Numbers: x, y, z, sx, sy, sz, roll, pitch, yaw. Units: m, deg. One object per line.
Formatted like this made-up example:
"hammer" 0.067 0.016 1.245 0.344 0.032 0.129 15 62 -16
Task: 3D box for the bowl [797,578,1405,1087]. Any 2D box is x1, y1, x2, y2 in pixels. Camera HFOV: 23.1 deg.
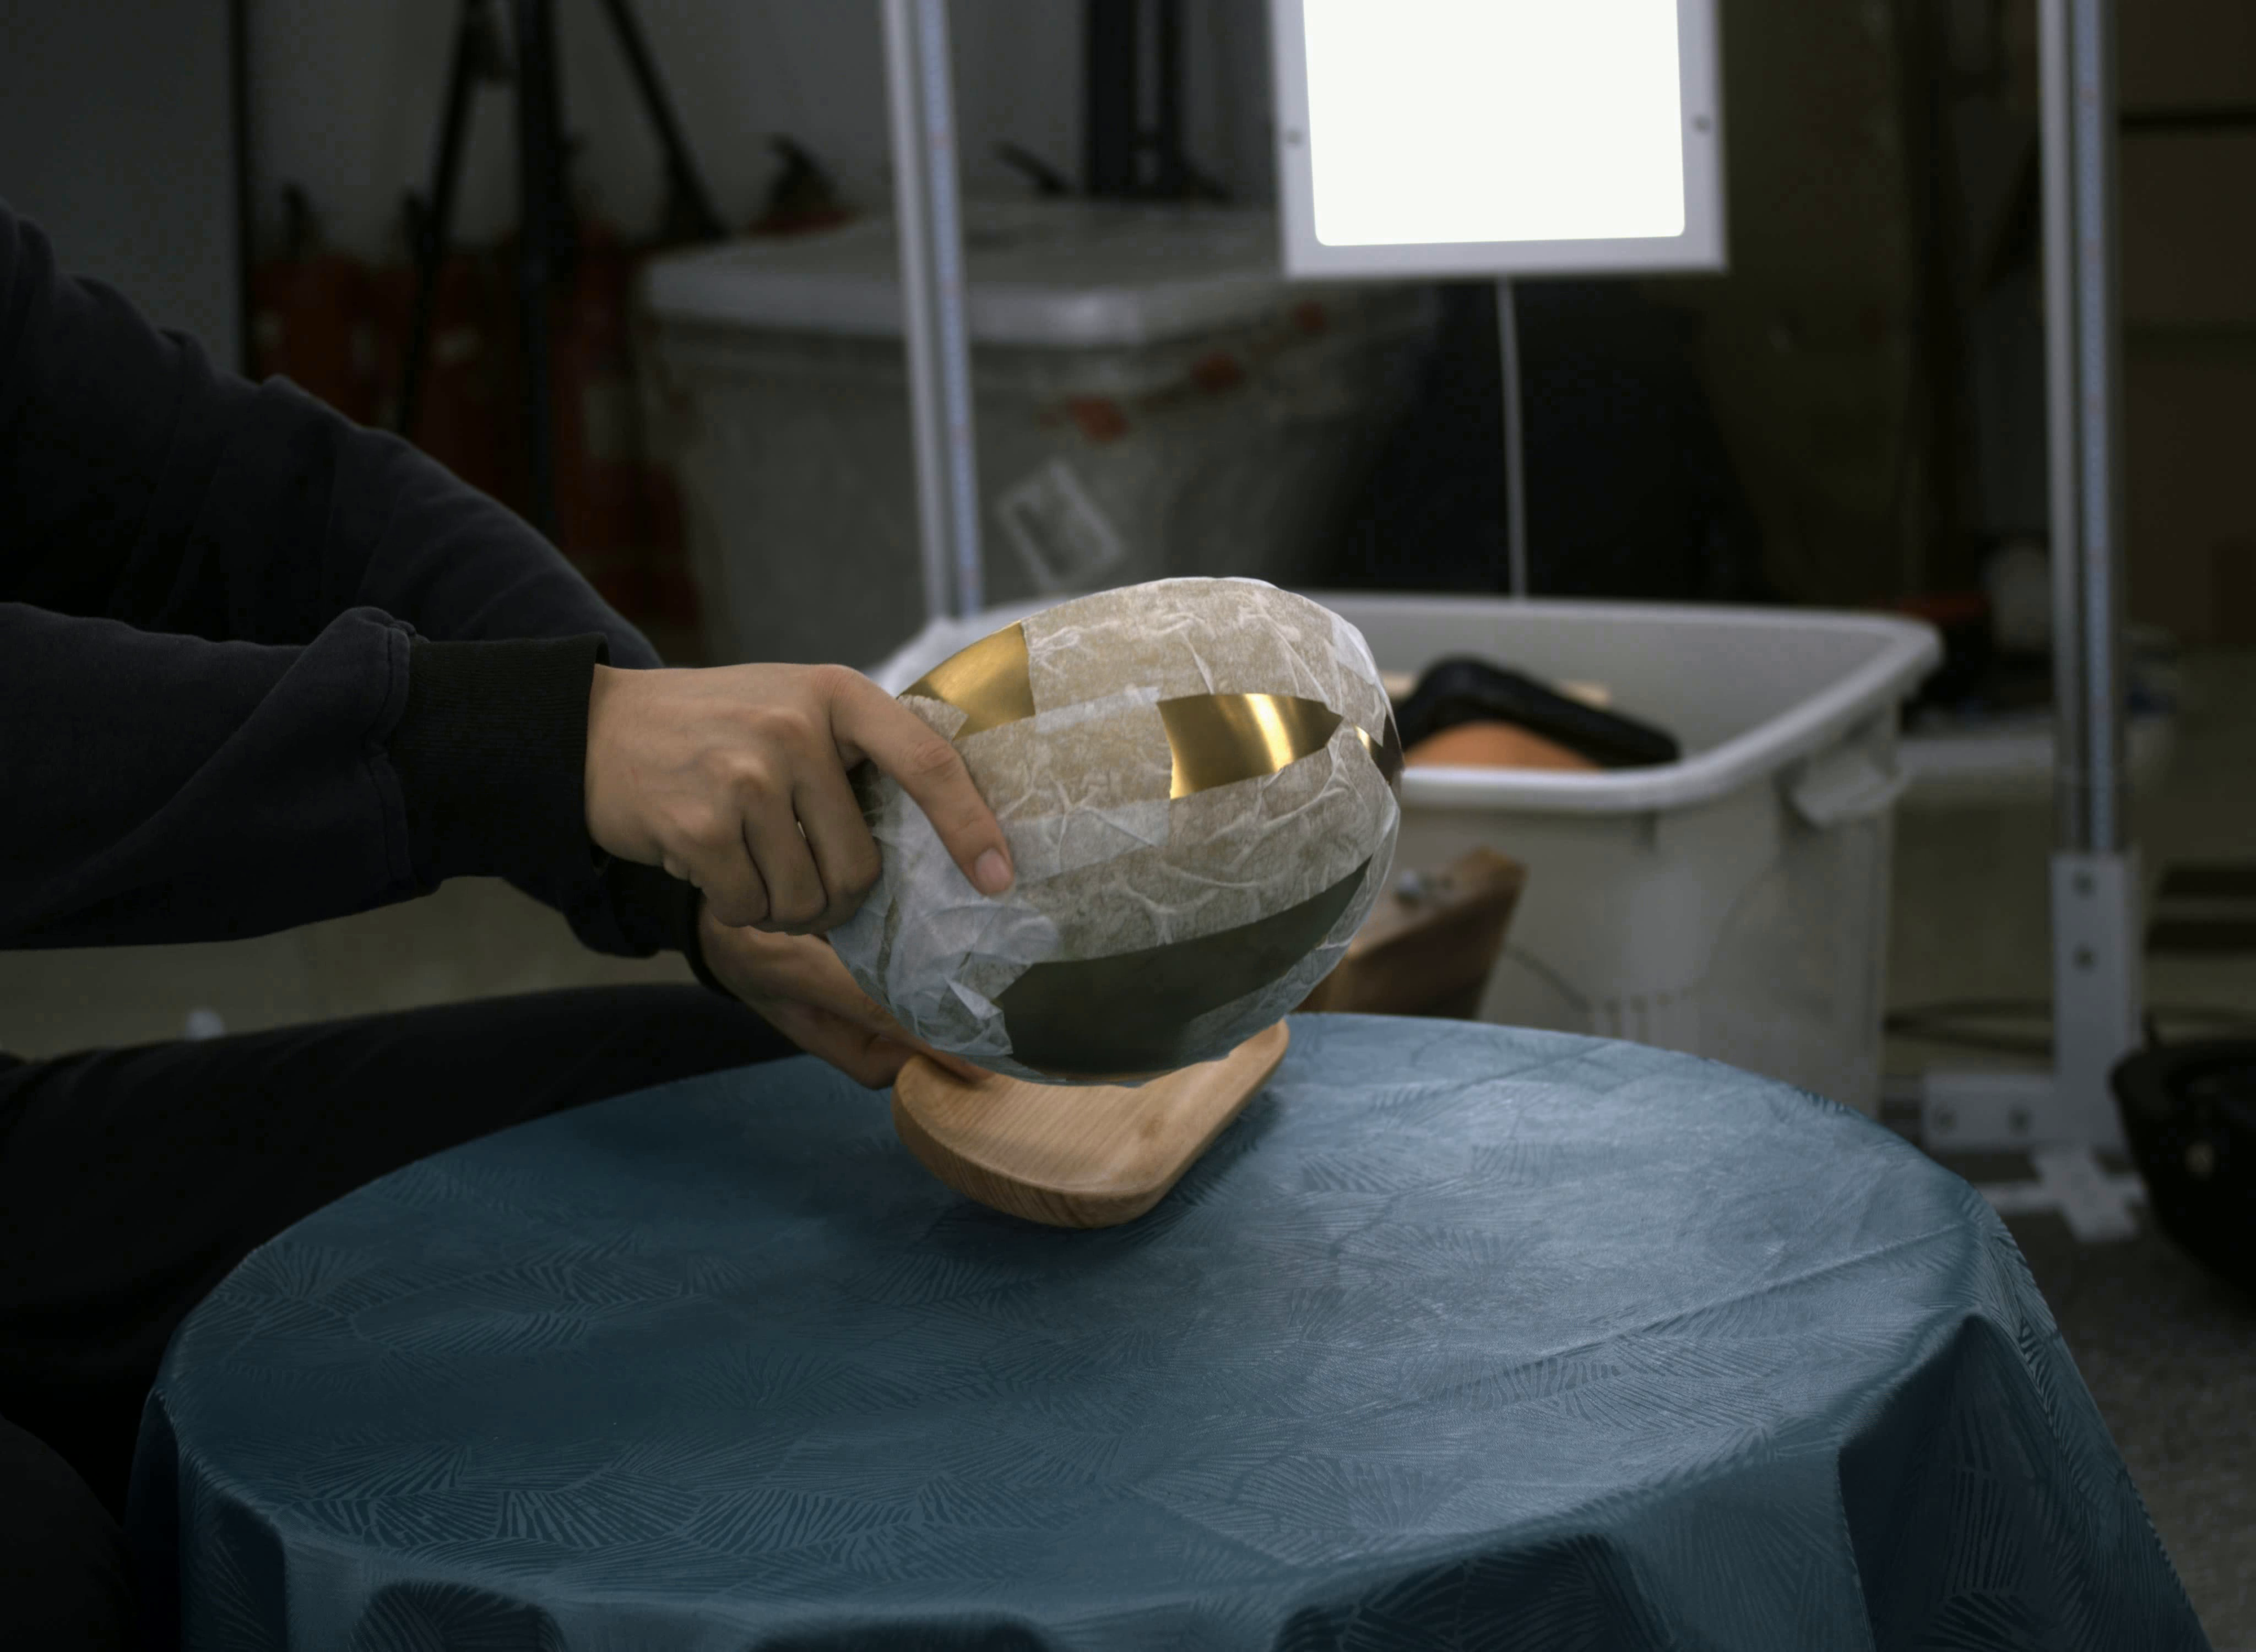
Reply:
"bowl" 0.003 0.022 1.775 0.211 0.217 0.095 -9 54 -19

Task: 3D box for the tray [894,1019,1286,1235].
"tray" -0.012 0.090 1.941 0.102 0.020 0.227 21 24 12
